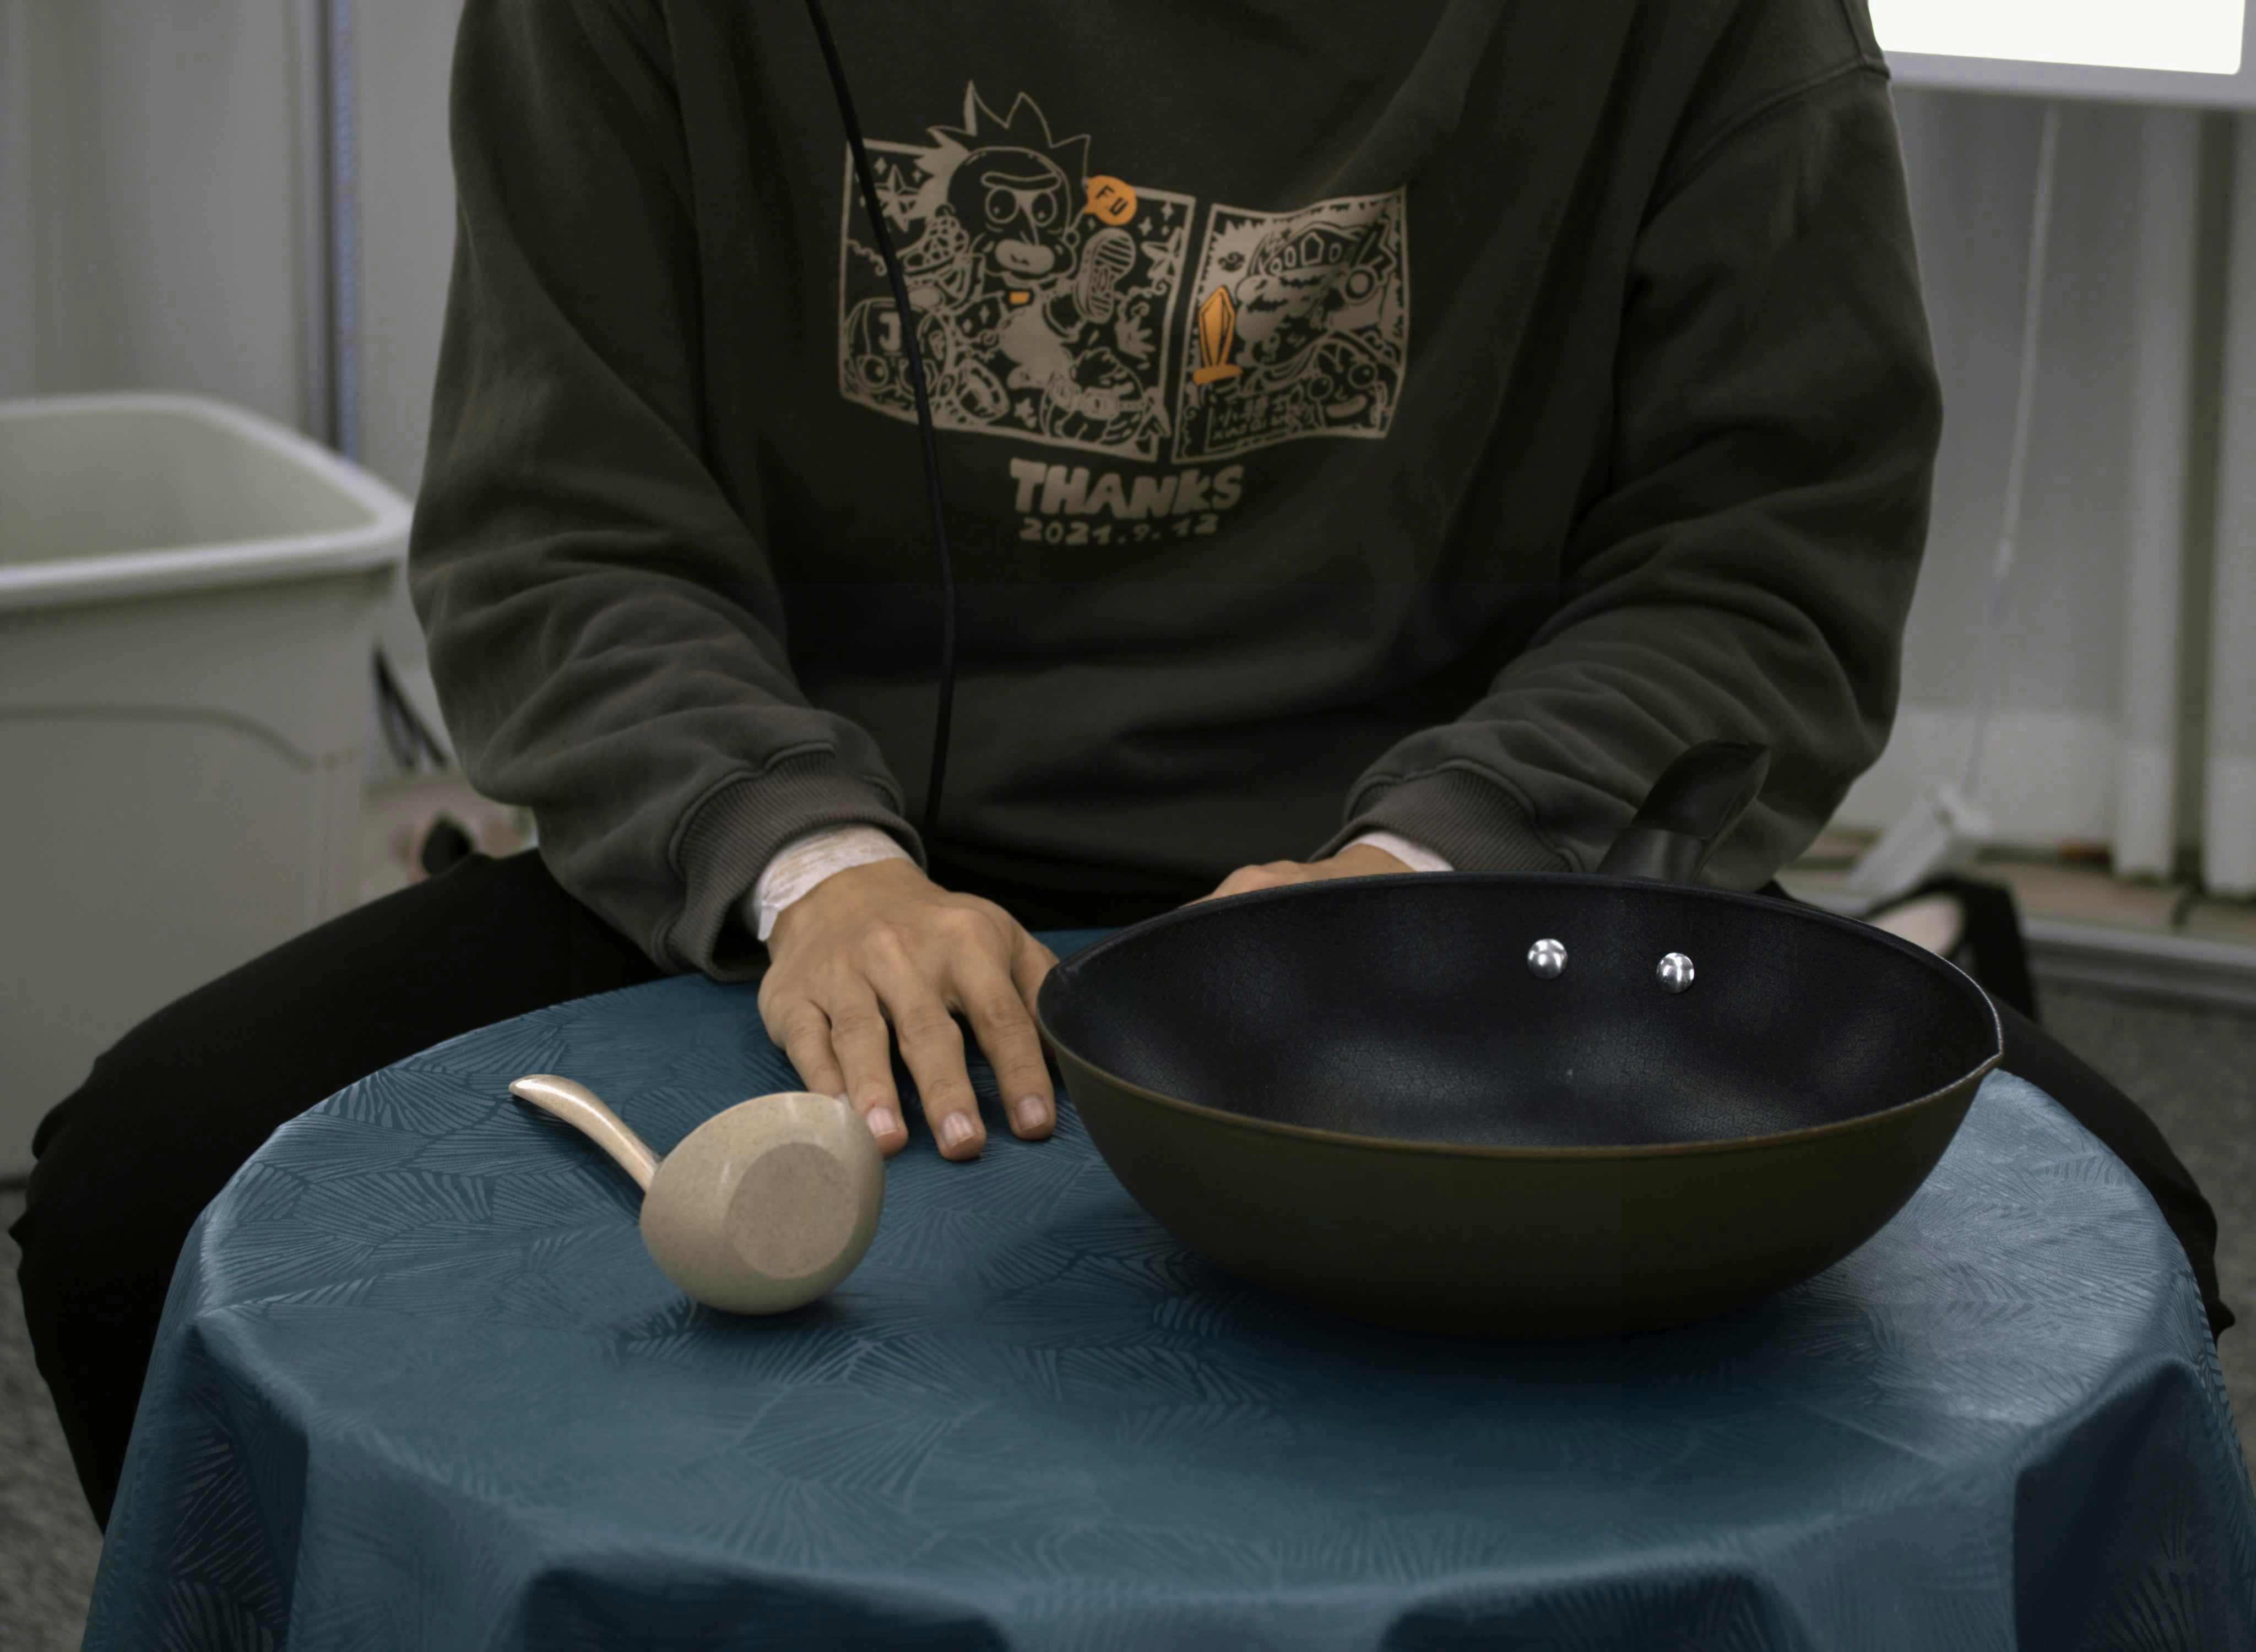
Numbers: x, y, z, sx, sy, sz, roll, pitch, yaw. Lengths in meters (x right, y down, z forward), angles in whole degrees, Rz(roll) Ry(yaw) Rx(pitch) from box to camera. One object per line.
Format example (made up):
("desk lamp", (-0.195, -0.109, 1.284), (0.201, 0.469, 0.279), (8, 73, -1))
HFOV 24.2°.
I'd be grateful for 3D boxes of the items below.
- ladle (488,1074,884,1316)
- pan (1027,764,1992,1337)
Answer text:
("ladle", (-0.149, 0.082, 1.599), (0.072, 0.073, 0.251), (-13, 20, -24))
("pan", (0.139, 0.066, 1.647), (0.285, 0.087, 0.463), (5, 15, 17))
